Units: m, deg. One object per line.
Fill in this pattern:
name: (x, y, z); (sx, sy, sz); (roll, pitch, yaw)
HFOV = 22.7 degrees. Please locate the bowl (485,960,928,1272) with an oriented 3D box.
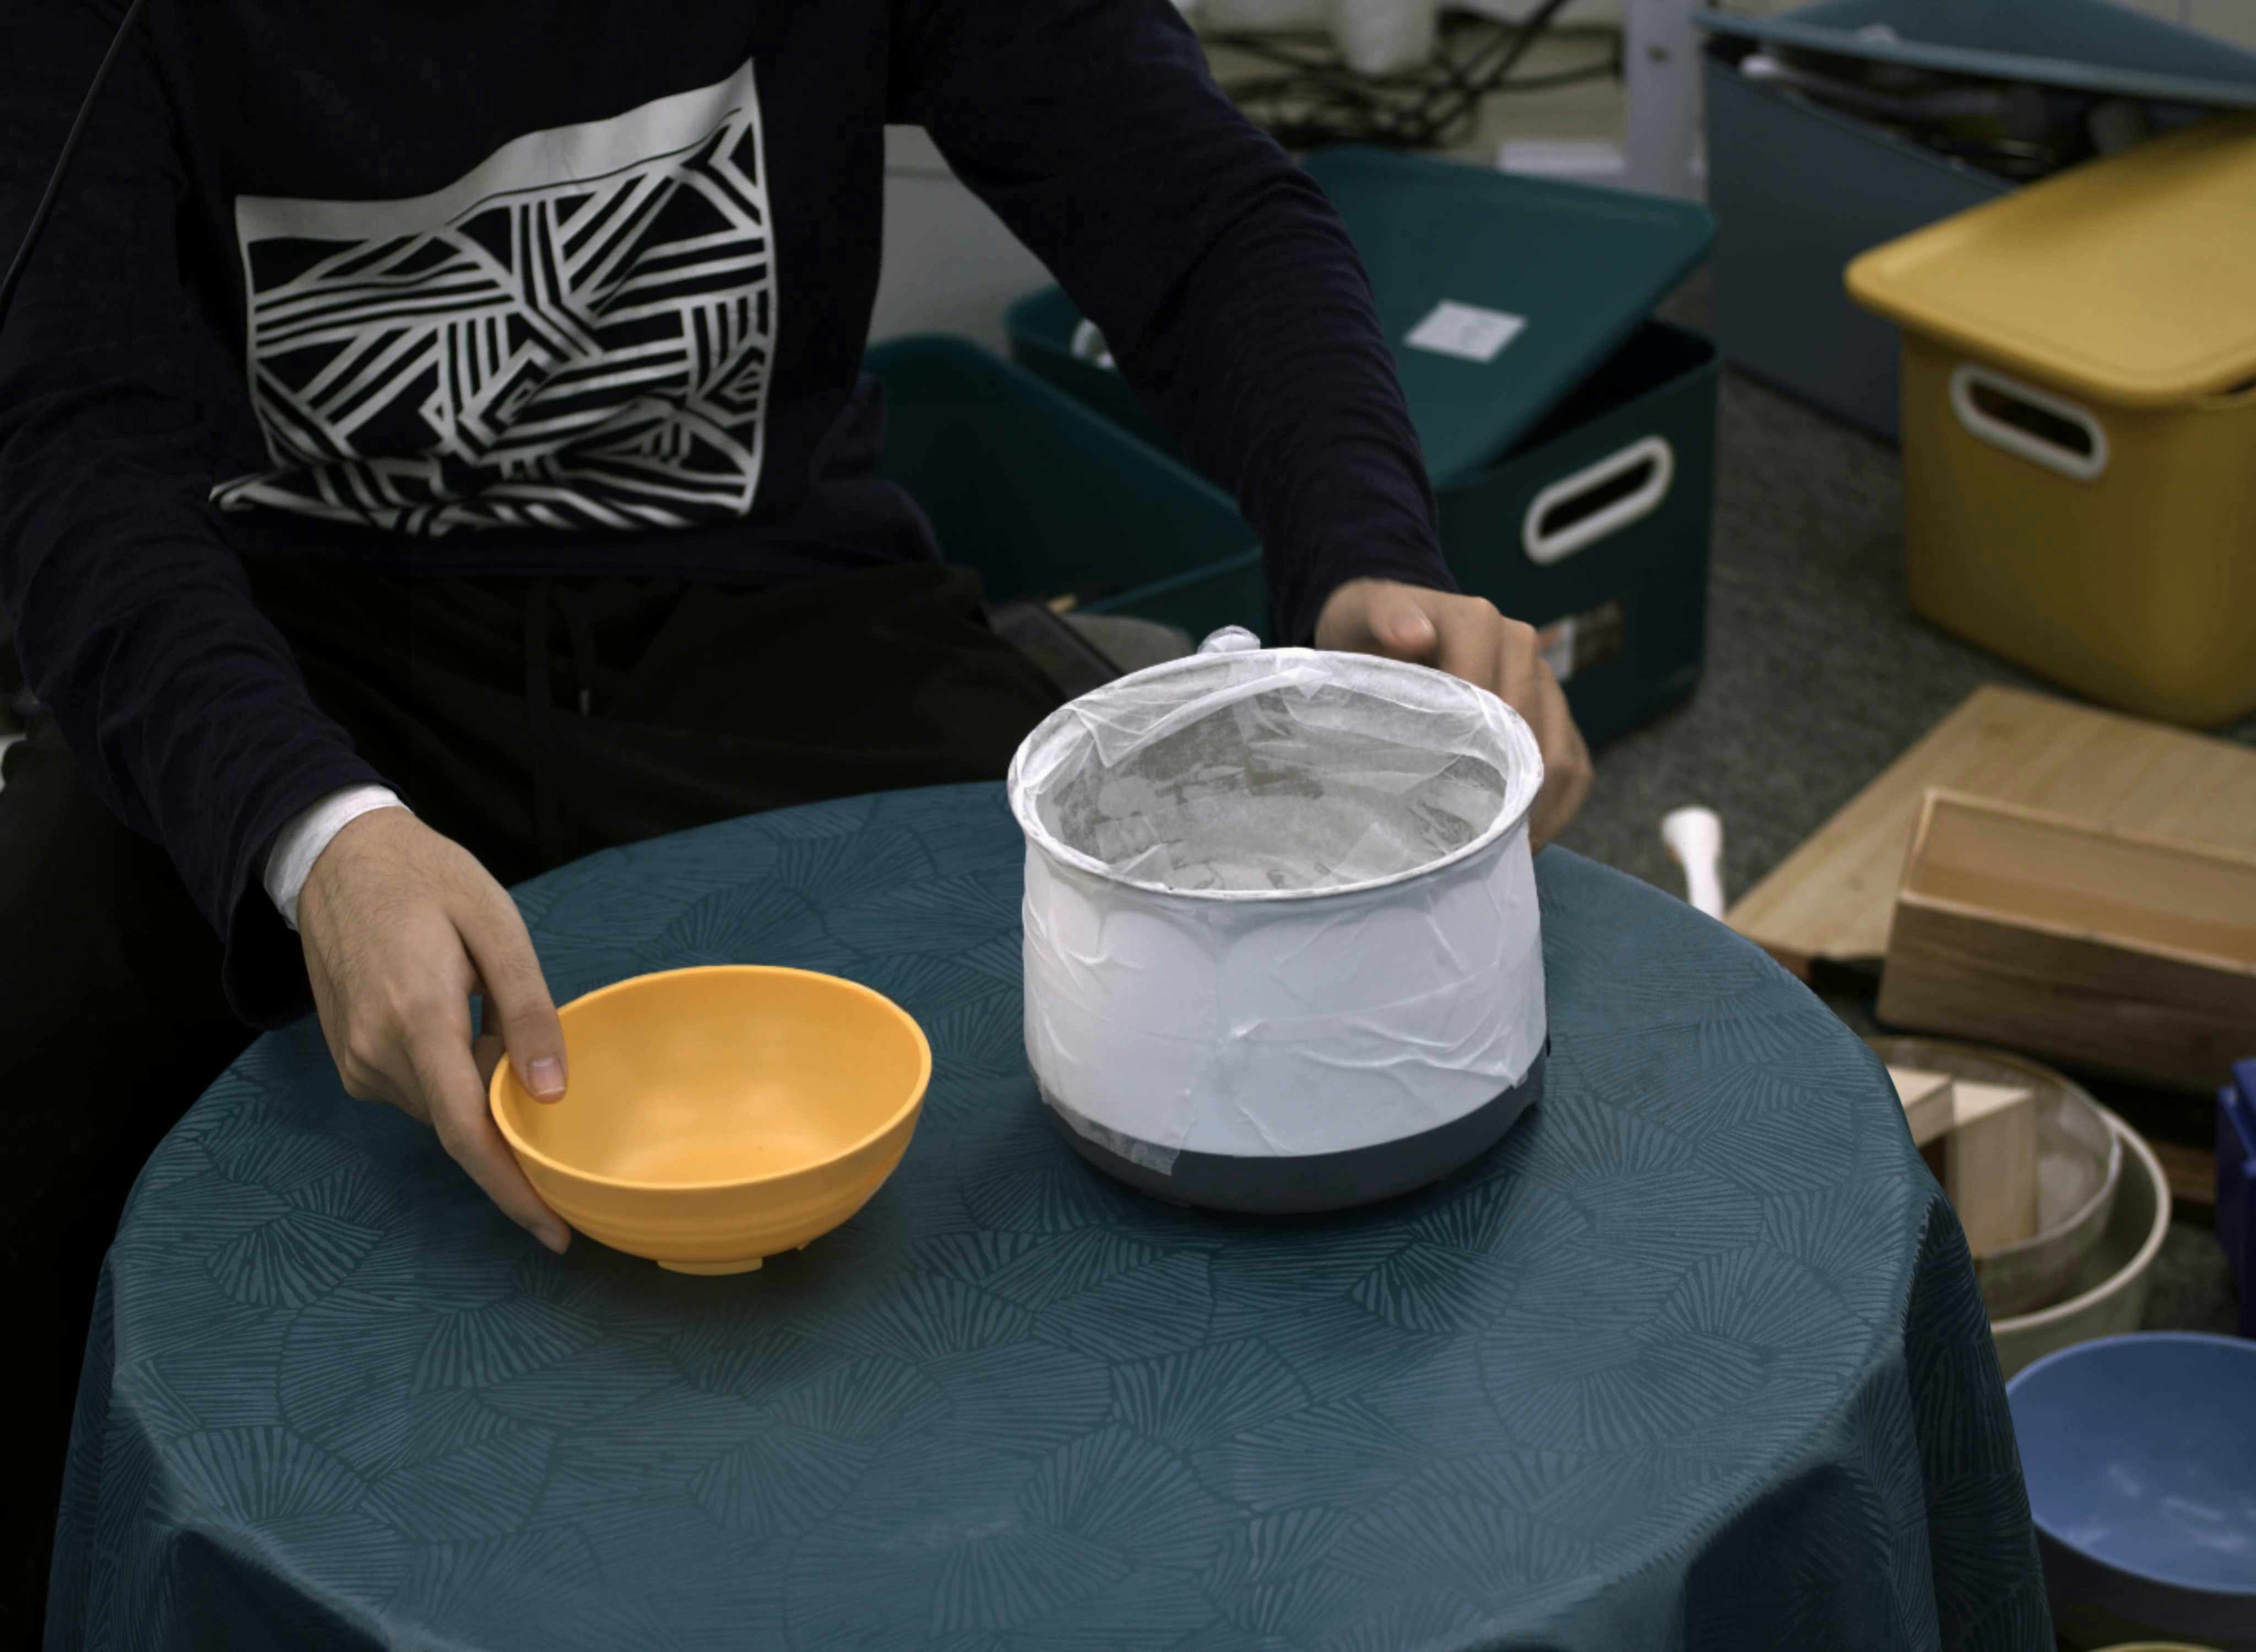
bowl: (-0.137, 0.104, 1.841); (0.144, 0.059, 0.147); (-1, 27, 1)

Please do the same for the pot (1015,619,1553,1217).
pot: (0.047, 0.024, 1.898); (0.178, 0.135, 0.237); (-4, 28, -8)
